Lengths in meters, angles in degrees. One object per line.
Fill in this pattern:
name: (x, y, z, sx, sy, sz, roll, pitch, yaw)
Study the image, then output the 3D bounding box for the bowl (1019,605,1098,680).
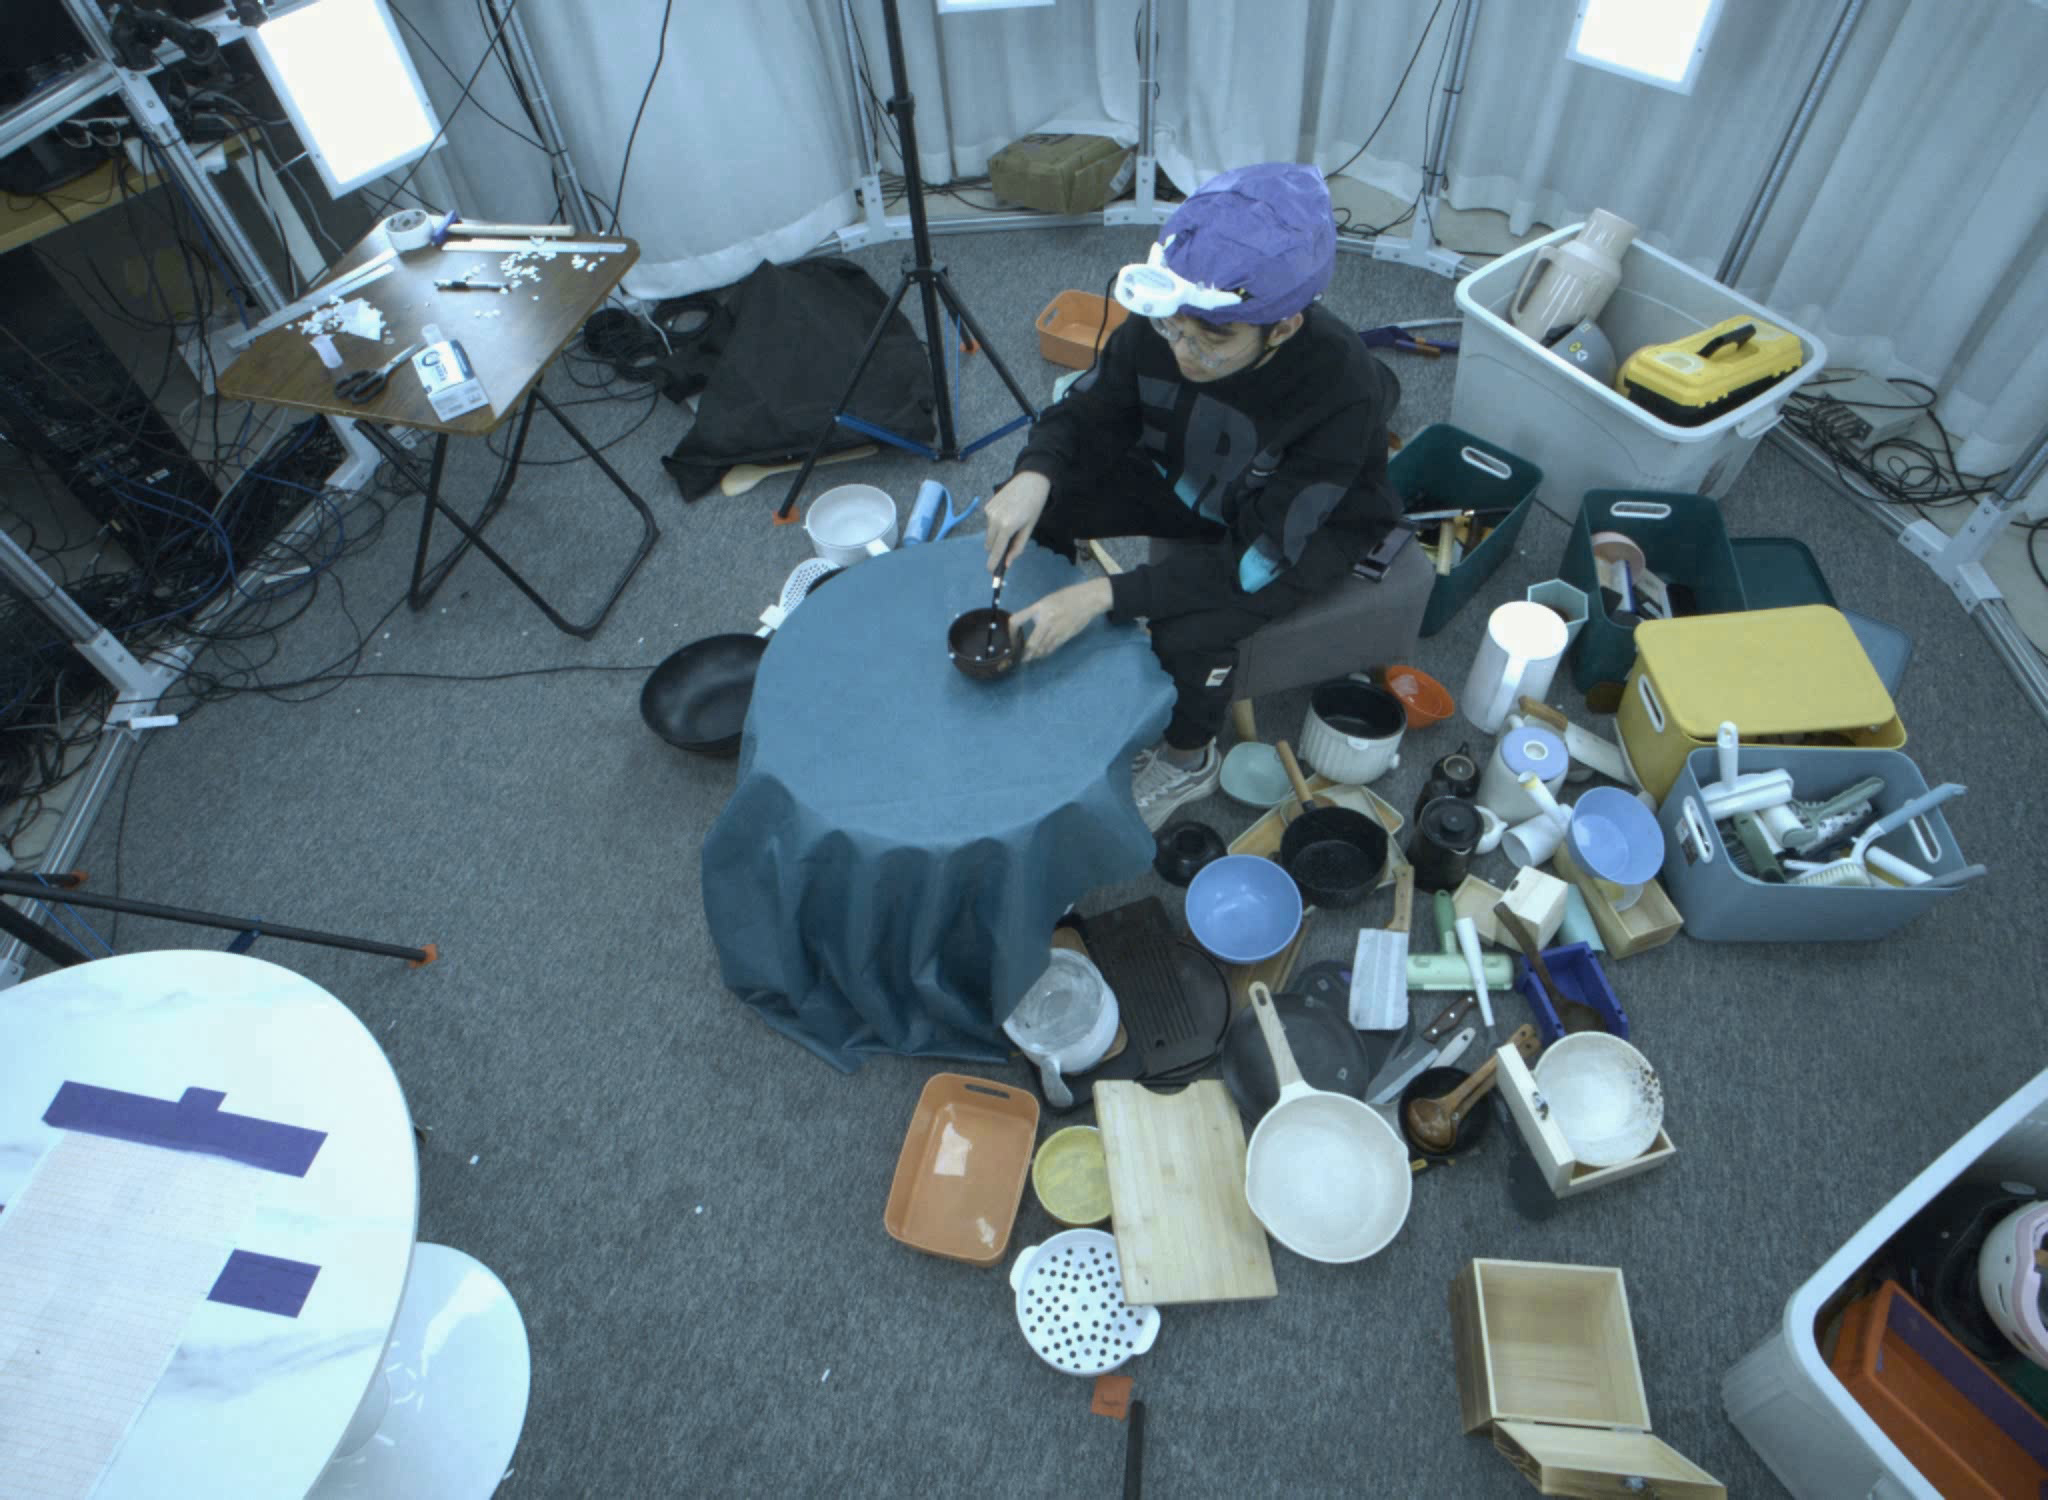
bowl: (0.052, -0.153, 1.846, 0.118, 0.070, 0.117, 0, 53, 1)

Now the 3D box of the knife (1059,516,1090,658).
knife: (0.072, -0.237, 1.838, 0.017, 0.026, 0.226, 12, 98, 13)
